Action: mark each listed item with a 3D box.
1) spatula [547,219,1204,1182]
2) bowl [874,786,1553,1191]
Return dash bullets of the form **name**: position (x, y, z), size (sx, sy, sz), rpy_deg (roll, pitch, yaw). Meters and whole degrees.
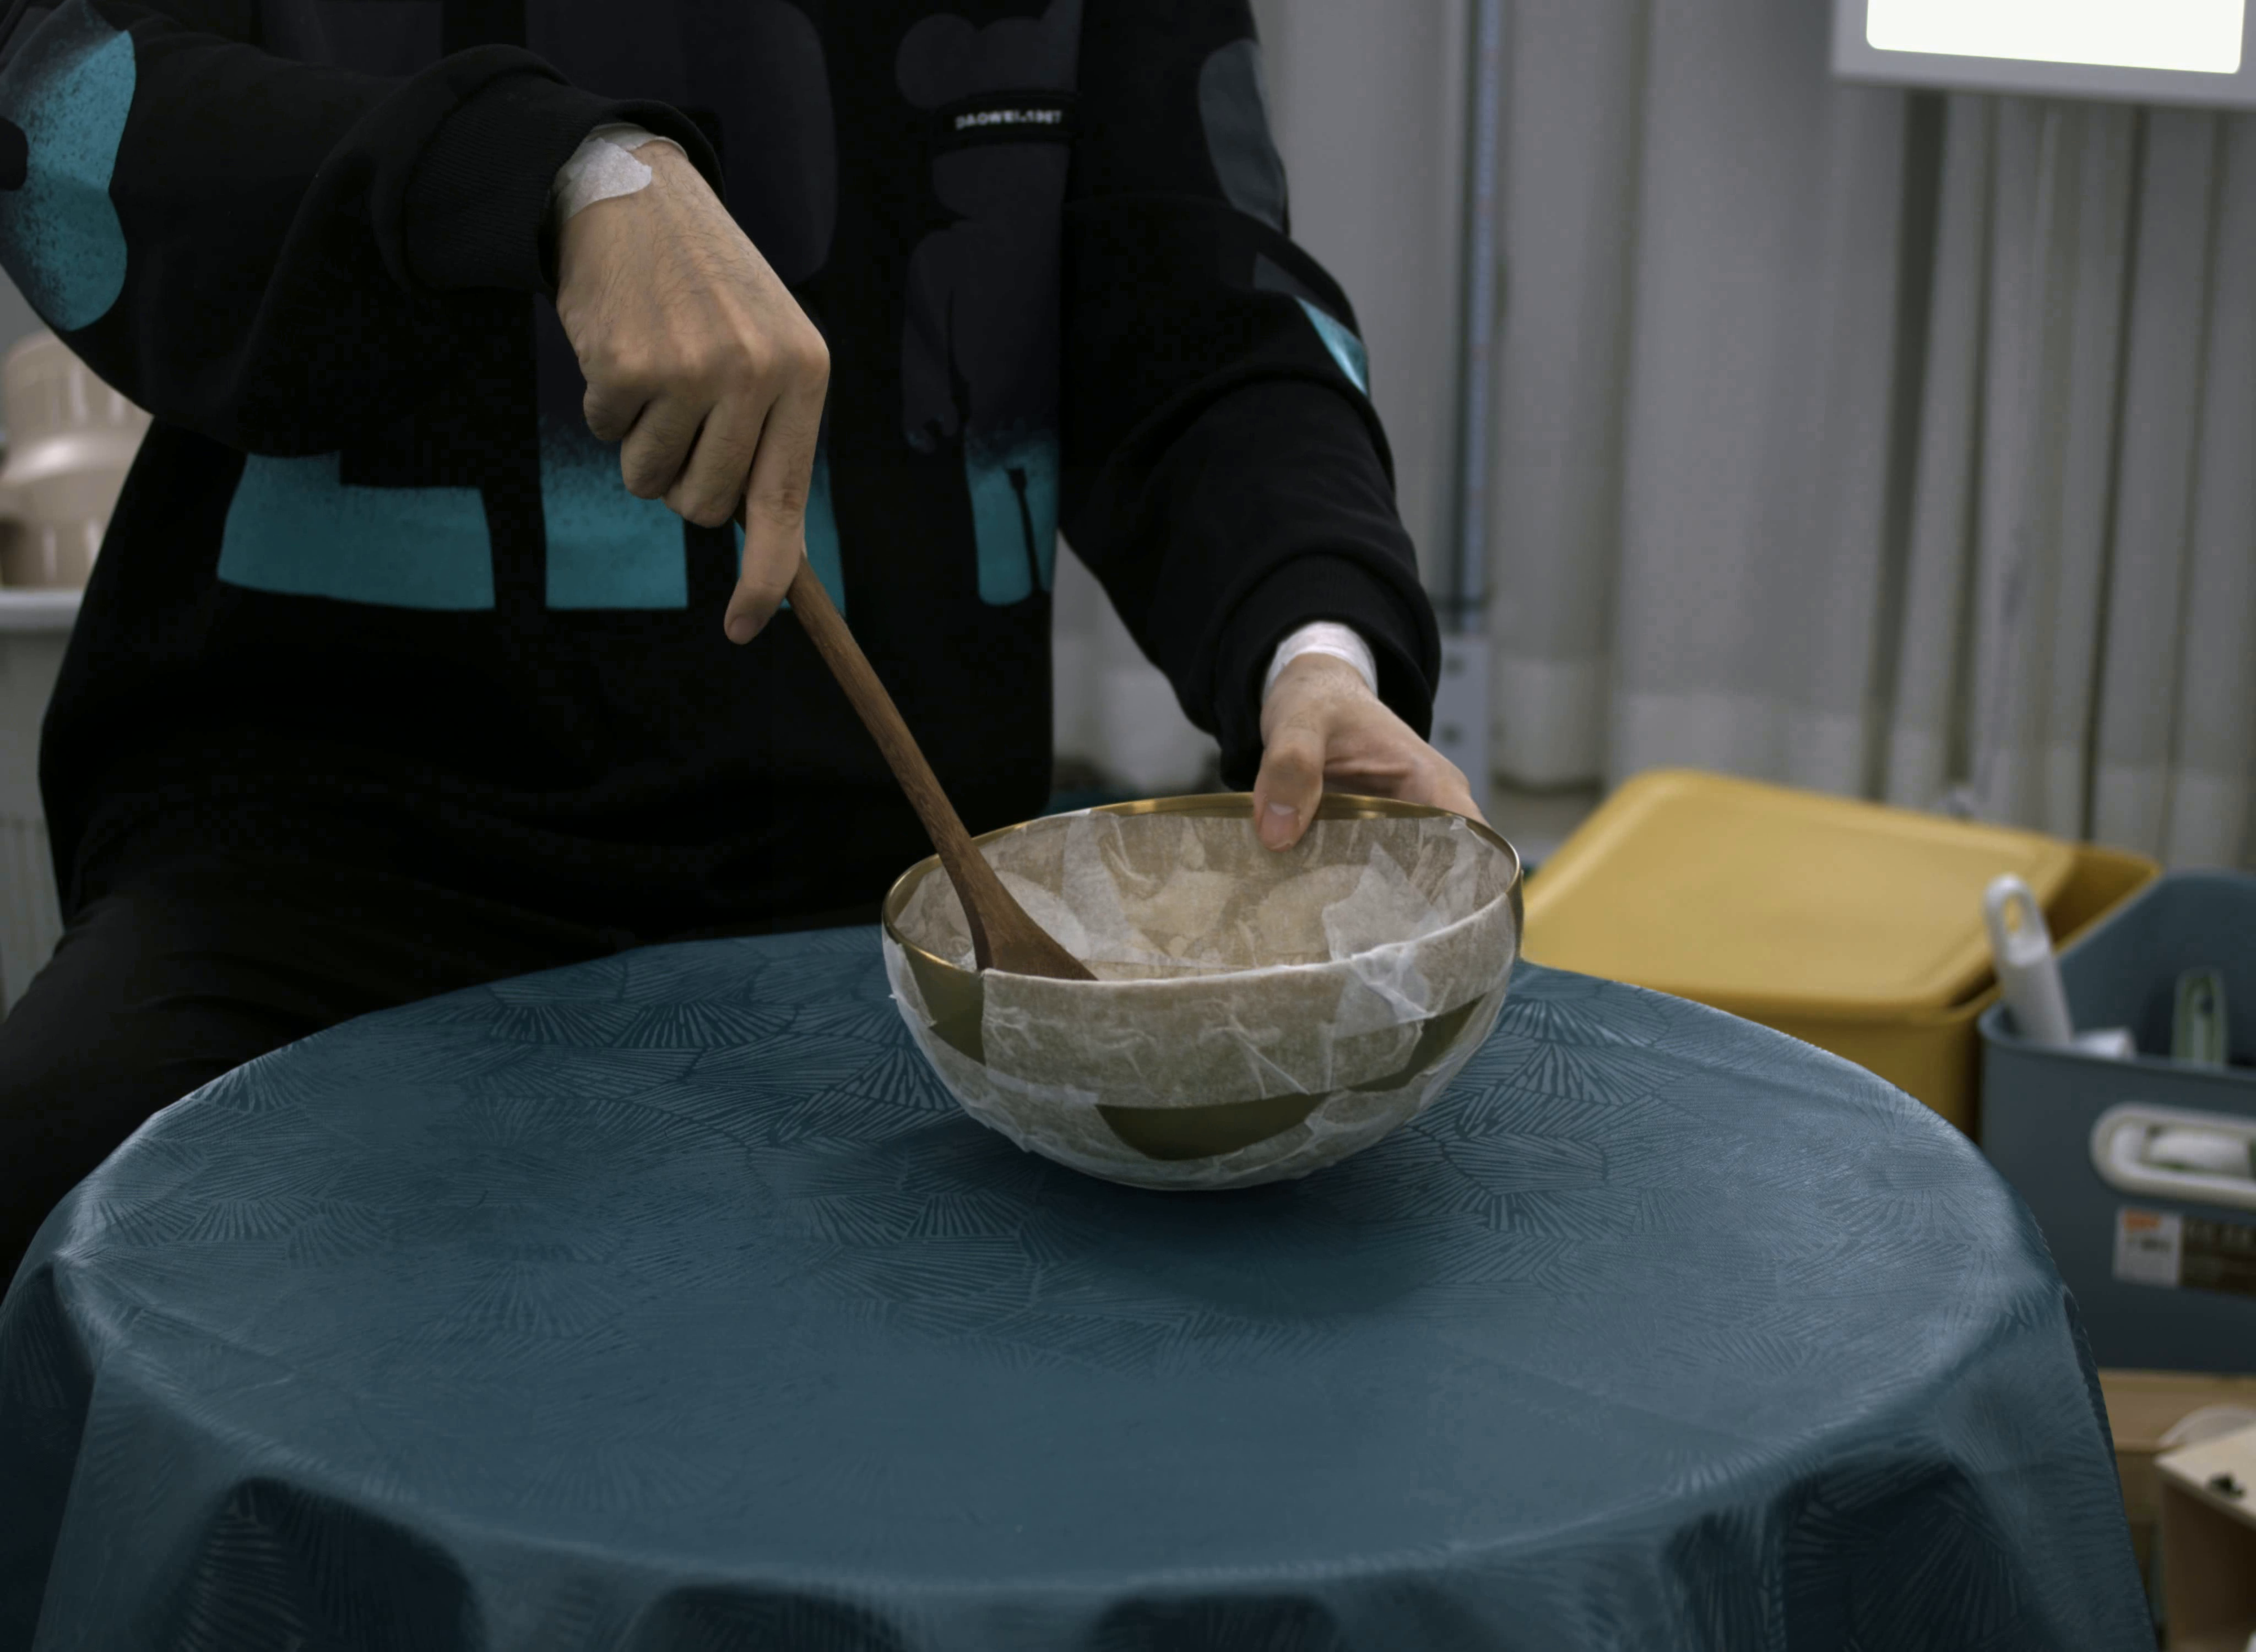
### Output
- **spatula**: position (-0.084, -0.045, 1.661), size (0.016, 0.383, 0.097), rpy_deg (-38, -17, 19)
- **bowl**: position (0.028, 0.058, 1.642), size (0.214, 0.095, 0.213), rpy_deg (-5, 16, 2)
